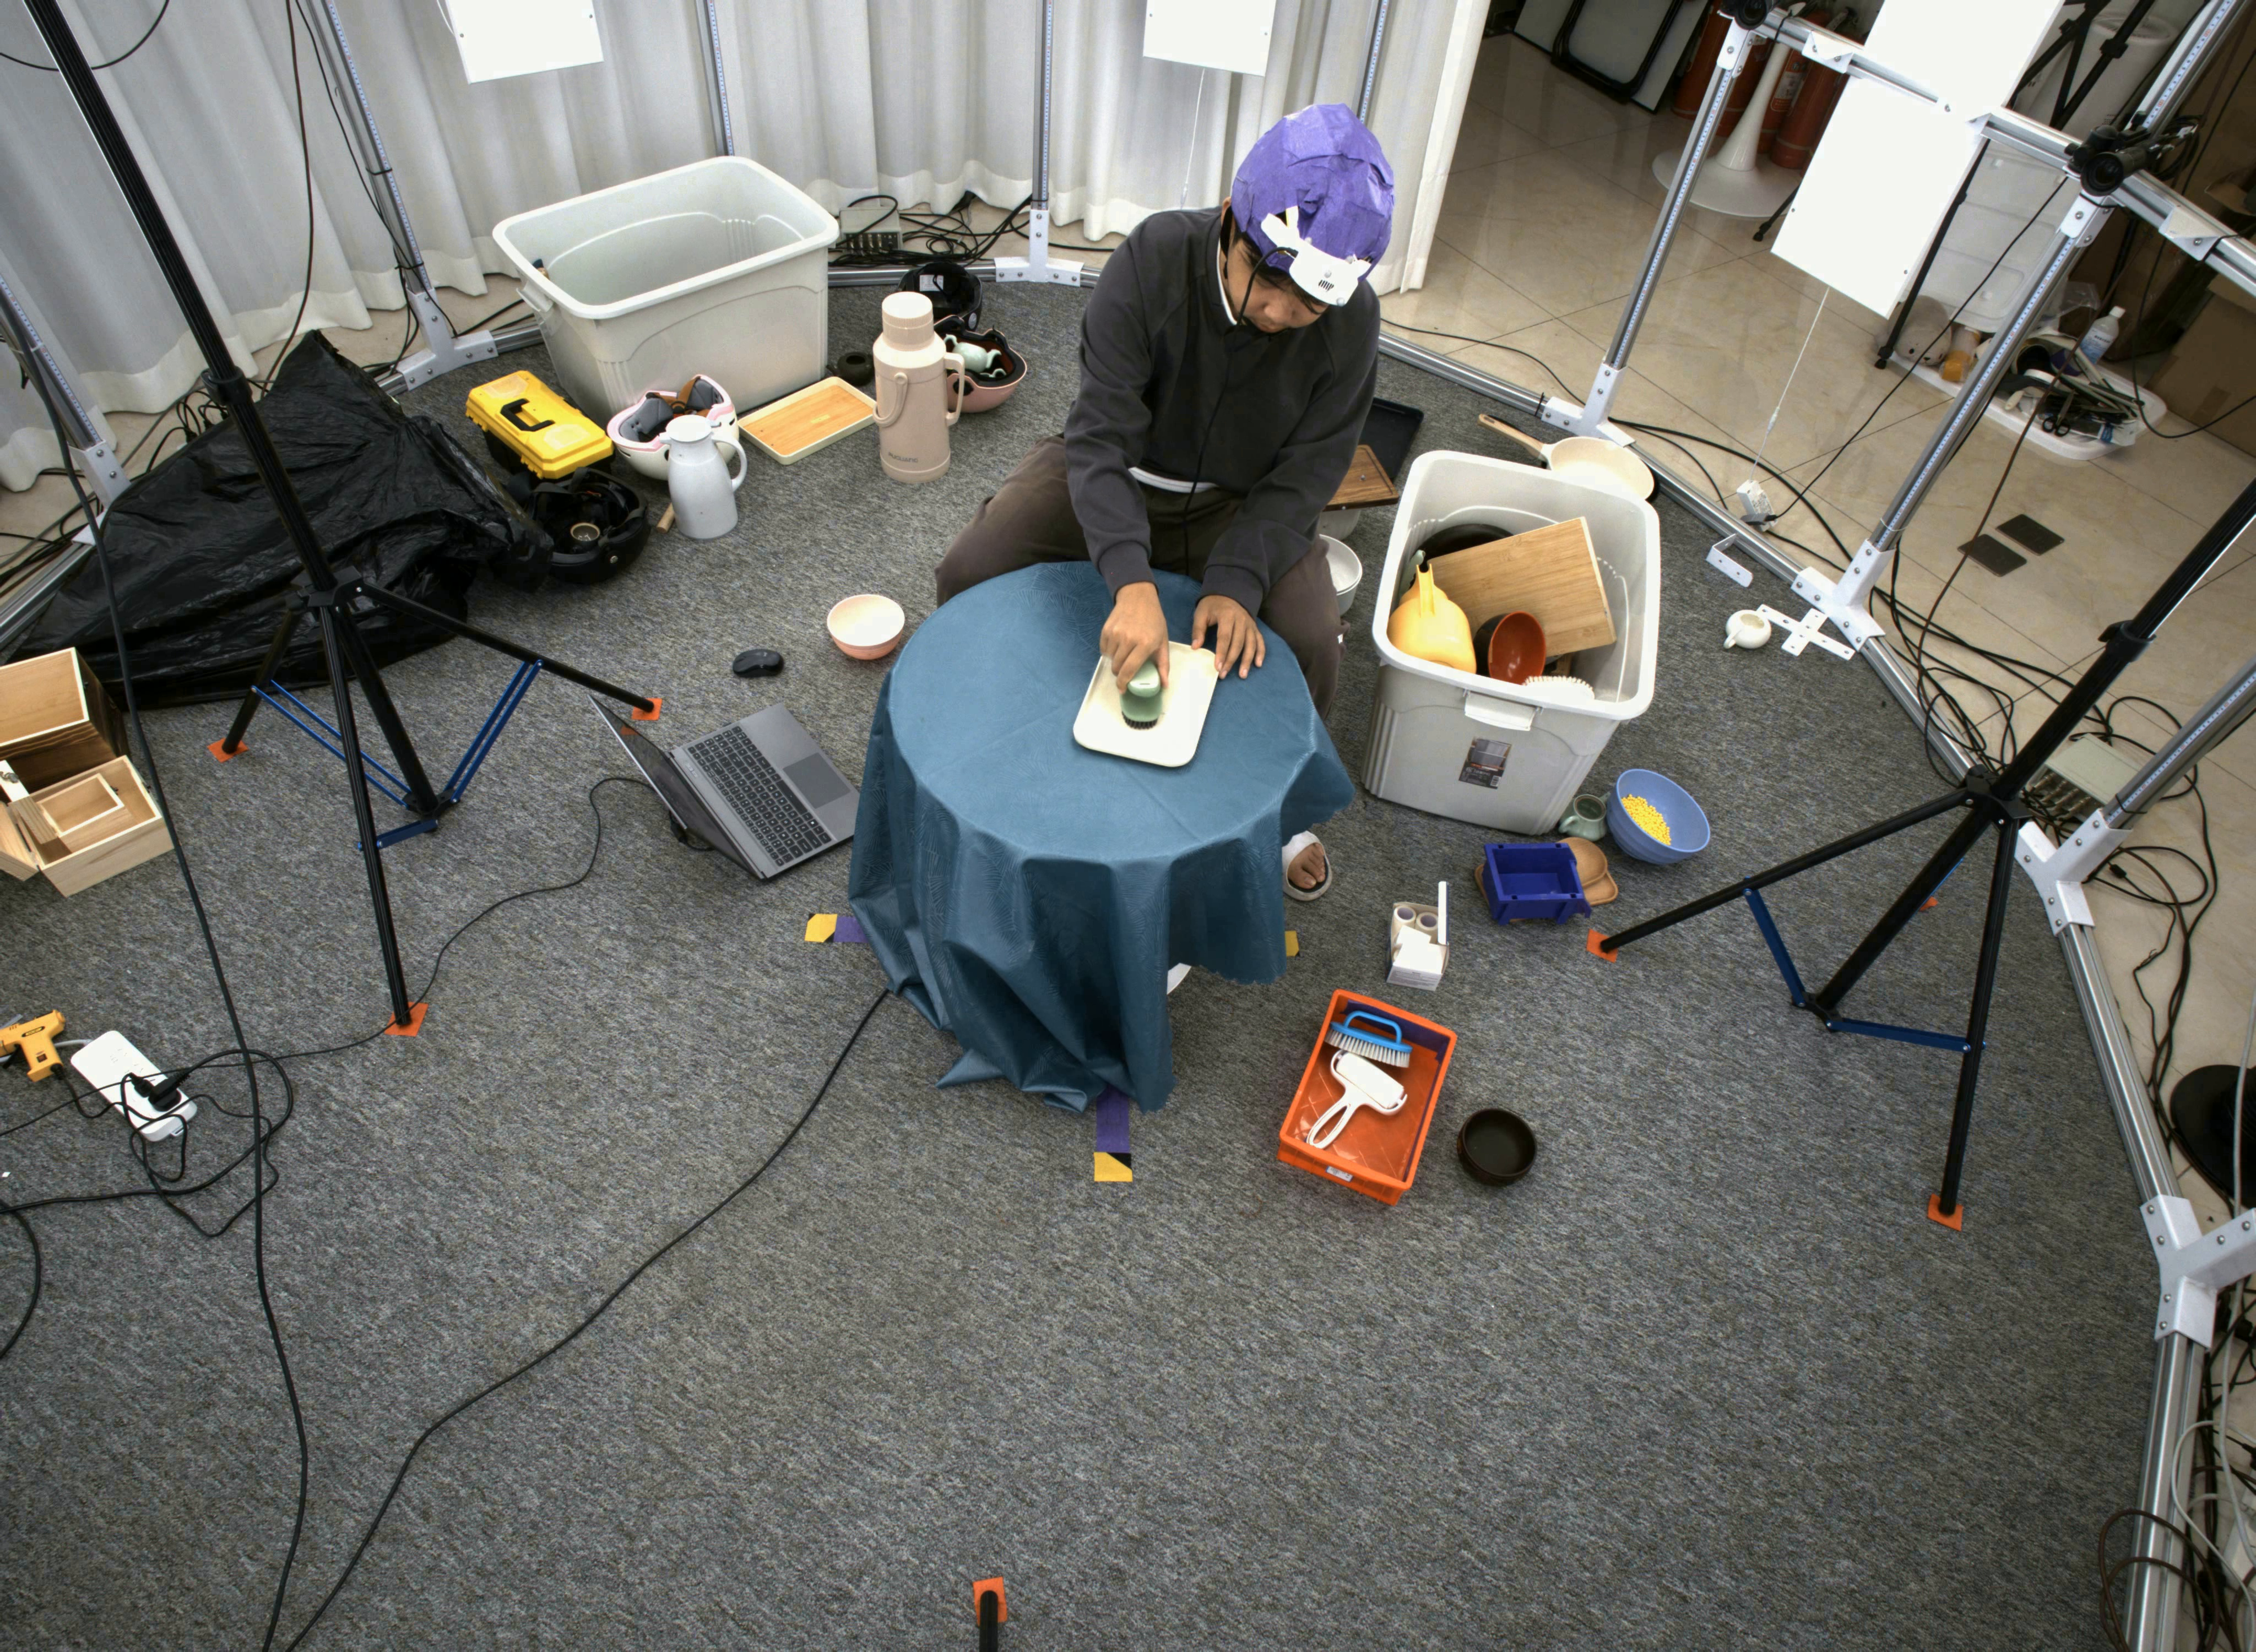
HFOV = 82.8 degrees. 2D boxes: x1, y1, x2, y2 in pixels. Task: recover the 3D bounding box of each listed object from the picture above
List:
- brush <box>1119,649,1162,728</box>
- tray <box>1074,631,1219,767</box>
[{"bbox_3d":[0.018,-0.194,1.798,0.059,0.074,0.126,0,36,-5],"label":"brush"},{"bbox_3d":[0.028,-0.181,1.812,0.171,0.017,0.245,13,49,6],"label":"tray"}]
